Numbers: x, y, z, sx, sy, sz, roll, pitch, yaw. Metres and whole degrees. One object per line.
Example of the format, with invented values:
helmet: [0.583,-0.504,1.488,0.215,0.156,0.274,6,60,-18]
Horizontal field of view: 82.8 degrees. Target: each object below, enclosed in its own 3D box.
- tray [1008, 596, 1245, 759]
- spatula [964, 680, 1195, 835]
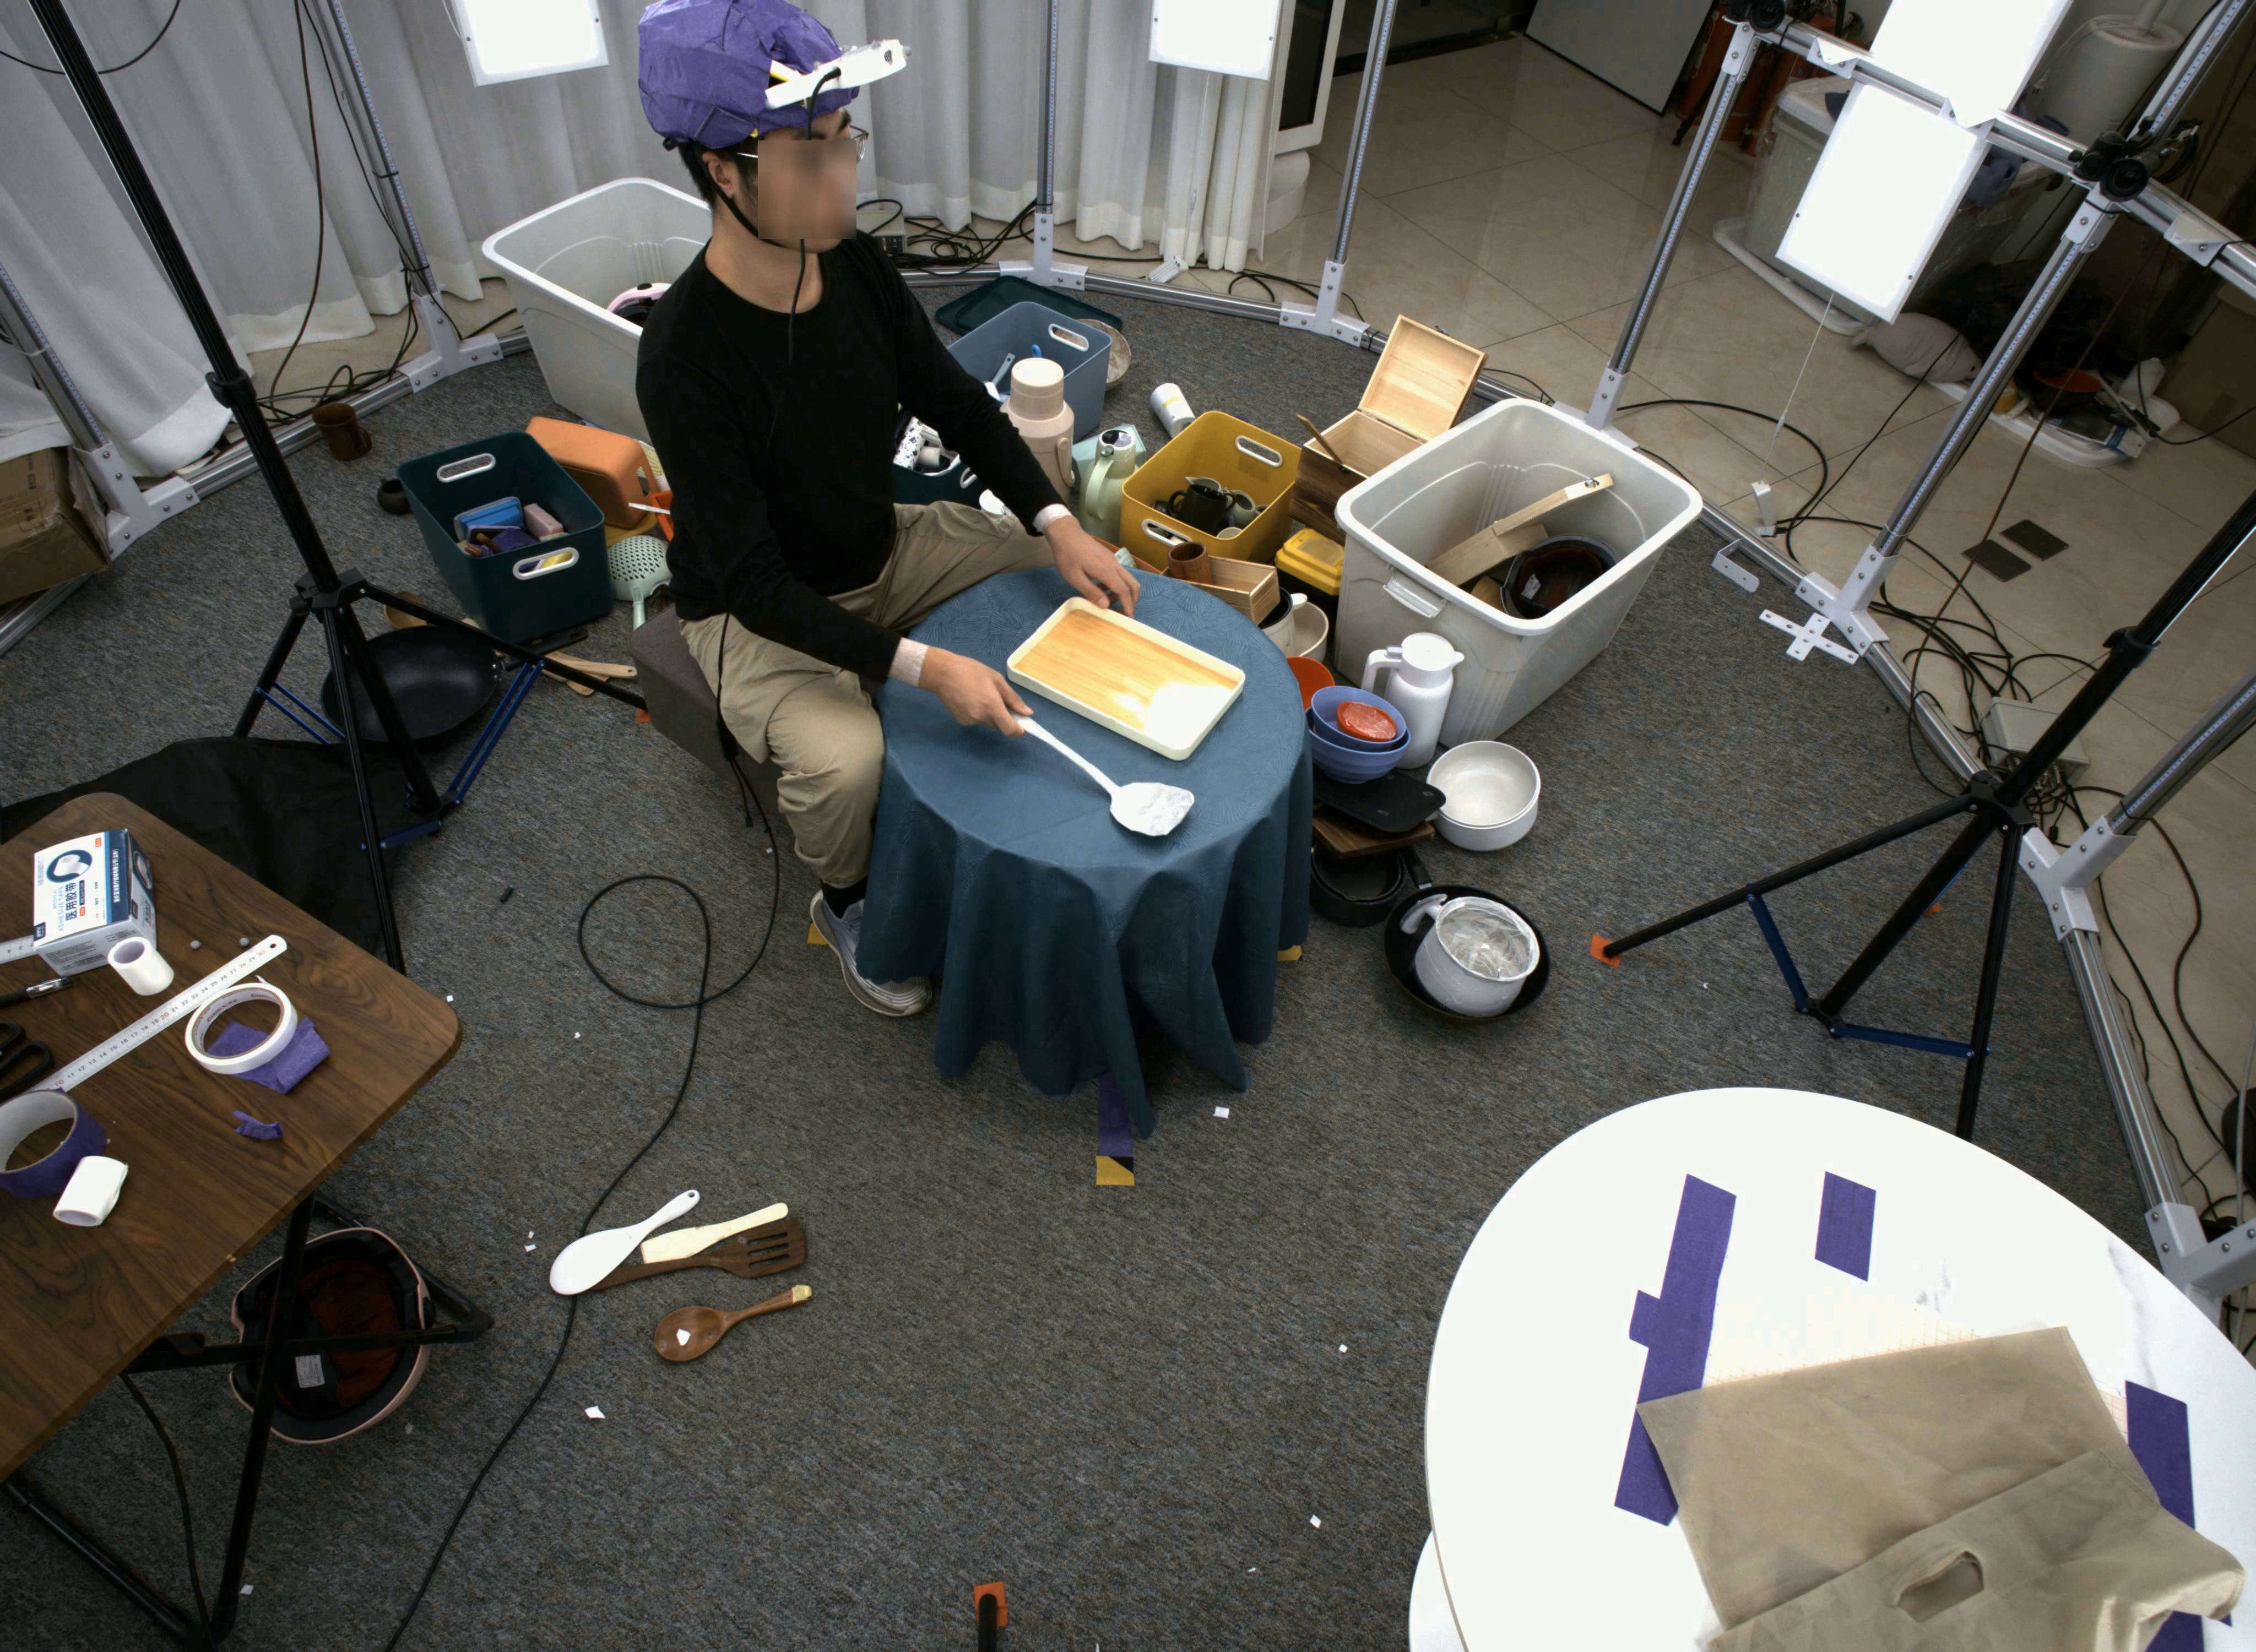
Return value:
tray: [-0.003,-0.217,1.841,0.303,0.027,0.194,27,53,19]
spatula: [-0.079,-0.103,1.703,0.367,0.044,0.100,35,55,12]
